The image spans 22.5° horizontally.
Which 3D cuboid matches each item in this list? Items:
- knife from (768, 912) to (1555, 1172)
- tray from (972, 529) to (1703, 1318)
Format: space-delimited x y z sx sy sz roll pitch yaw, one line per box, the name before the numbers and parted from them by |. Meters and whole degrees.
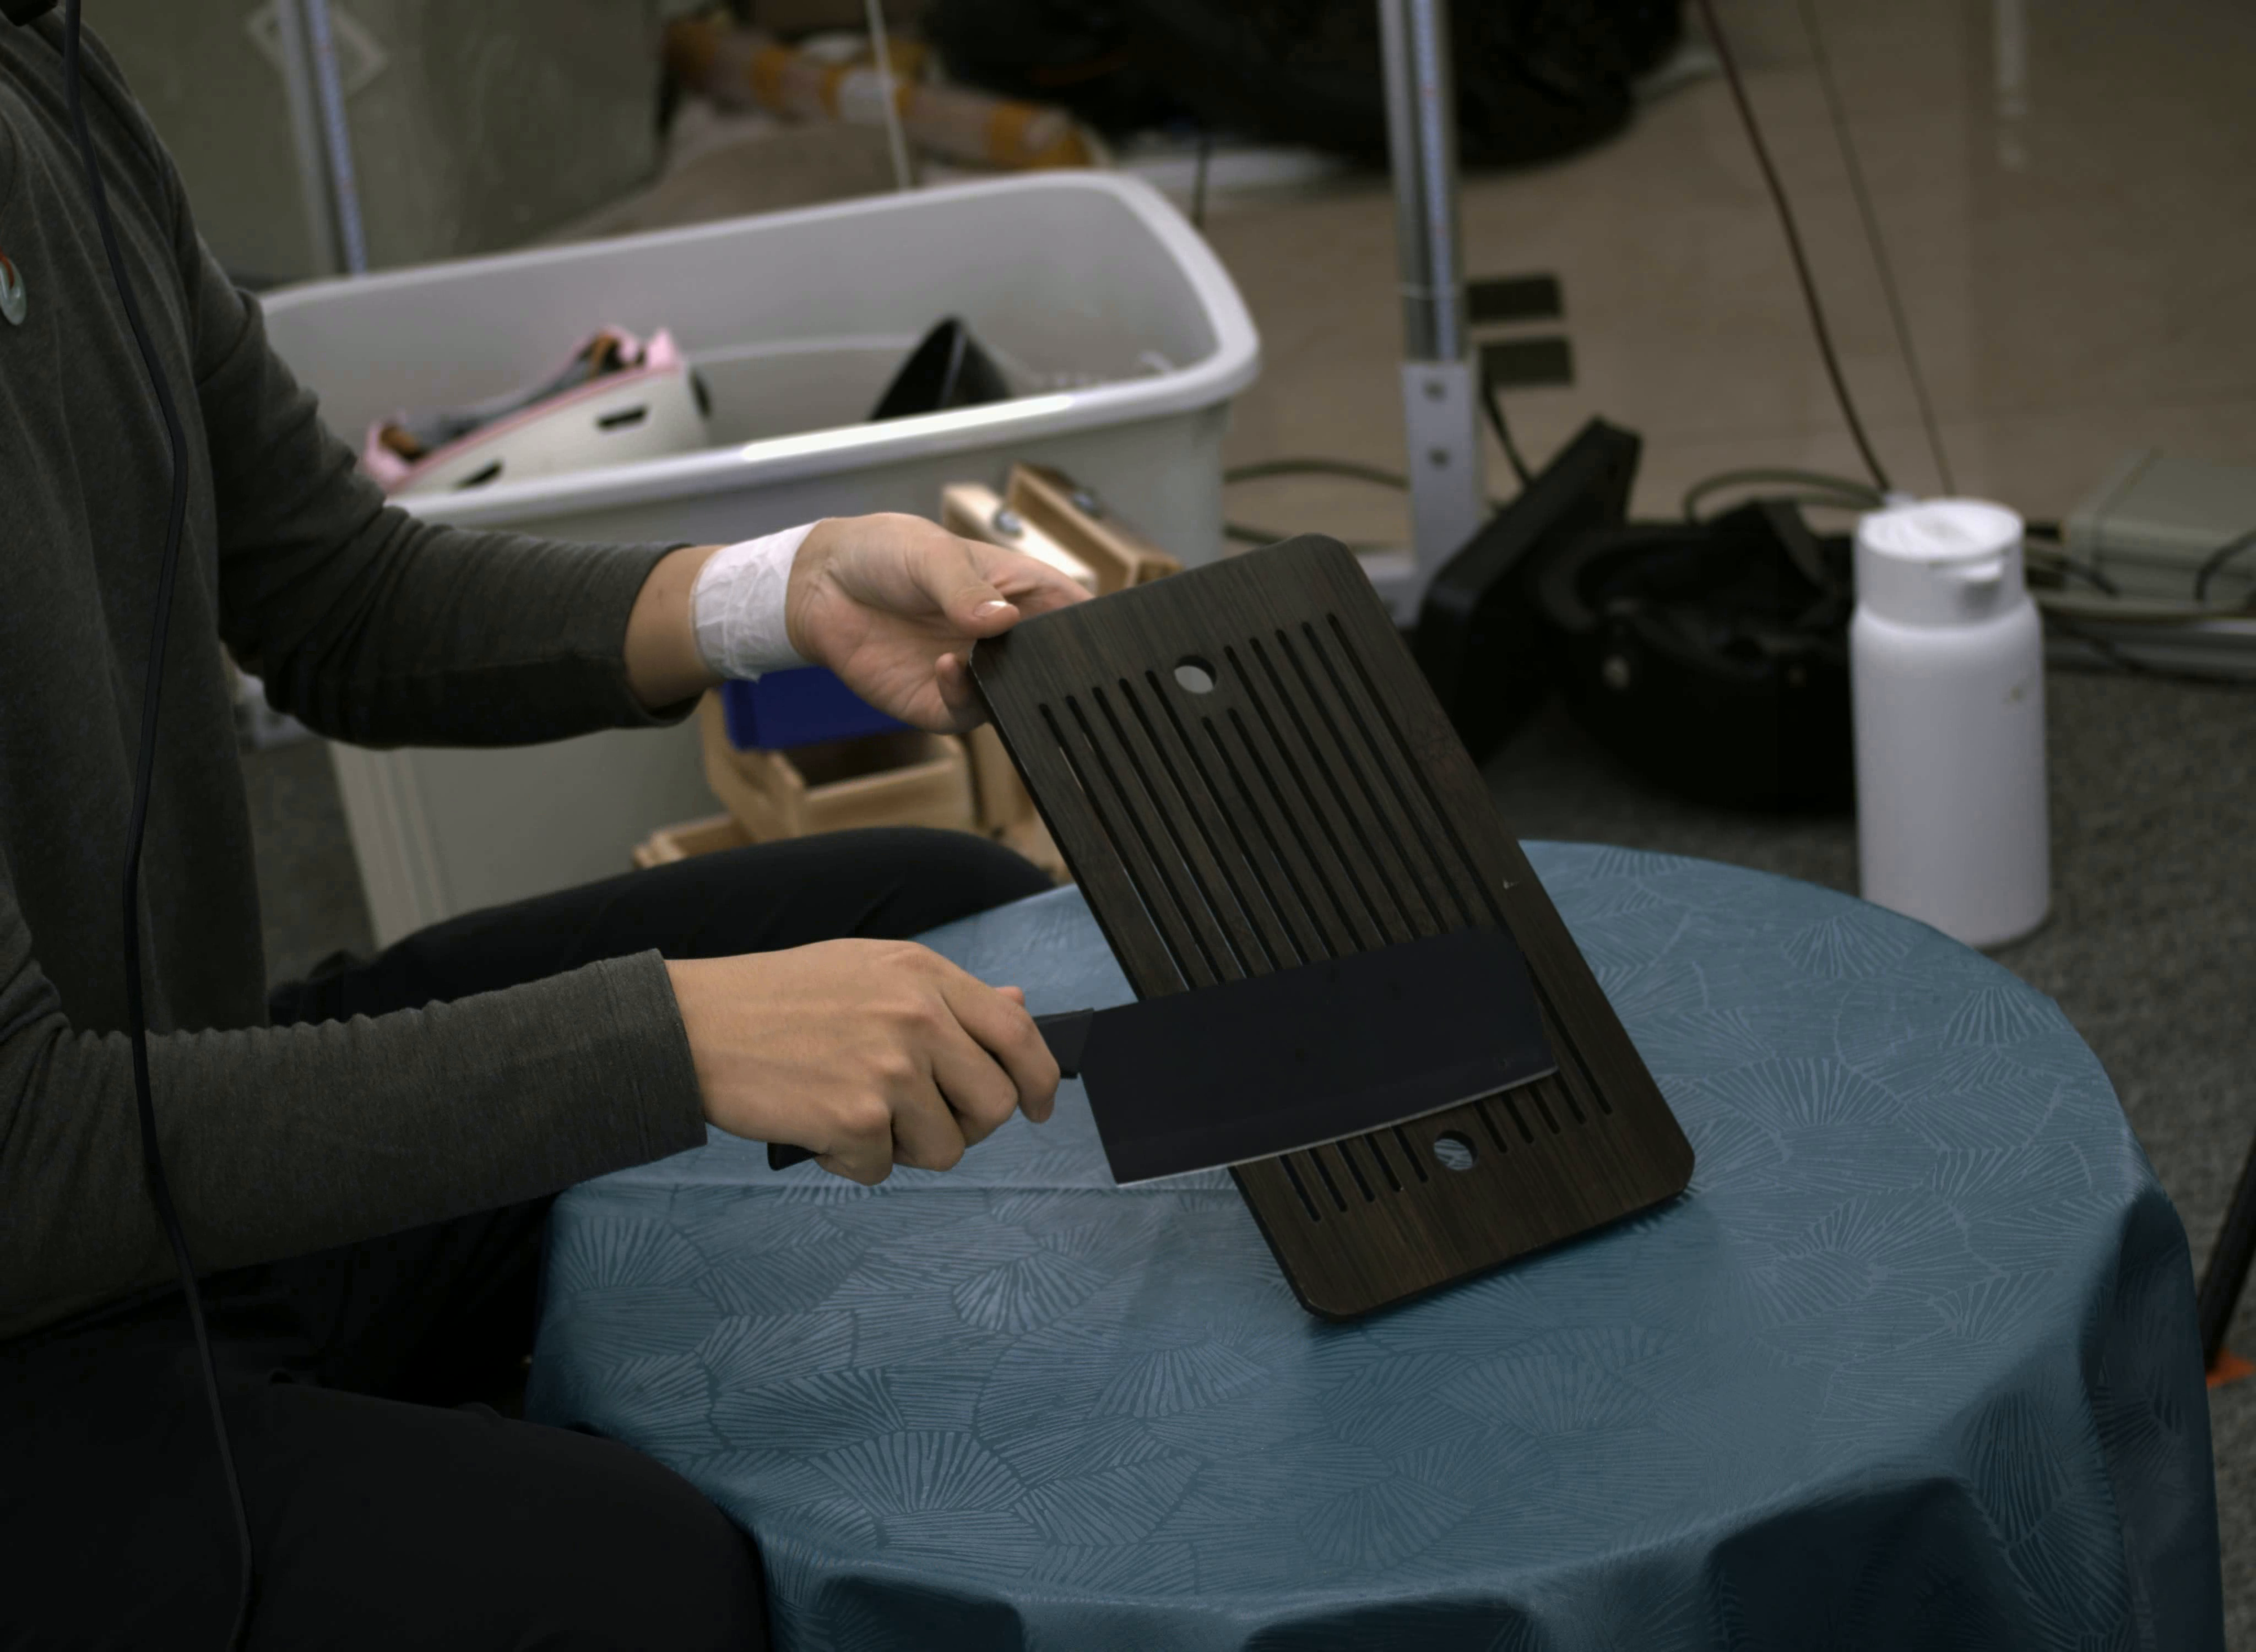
knife | 0.013 0.088 2.060 0.301 0.080 0.021 -8 -17 -18
tray | 0.076 0.033 2.125 0.169 0.019 0.303 -19 68 -23
